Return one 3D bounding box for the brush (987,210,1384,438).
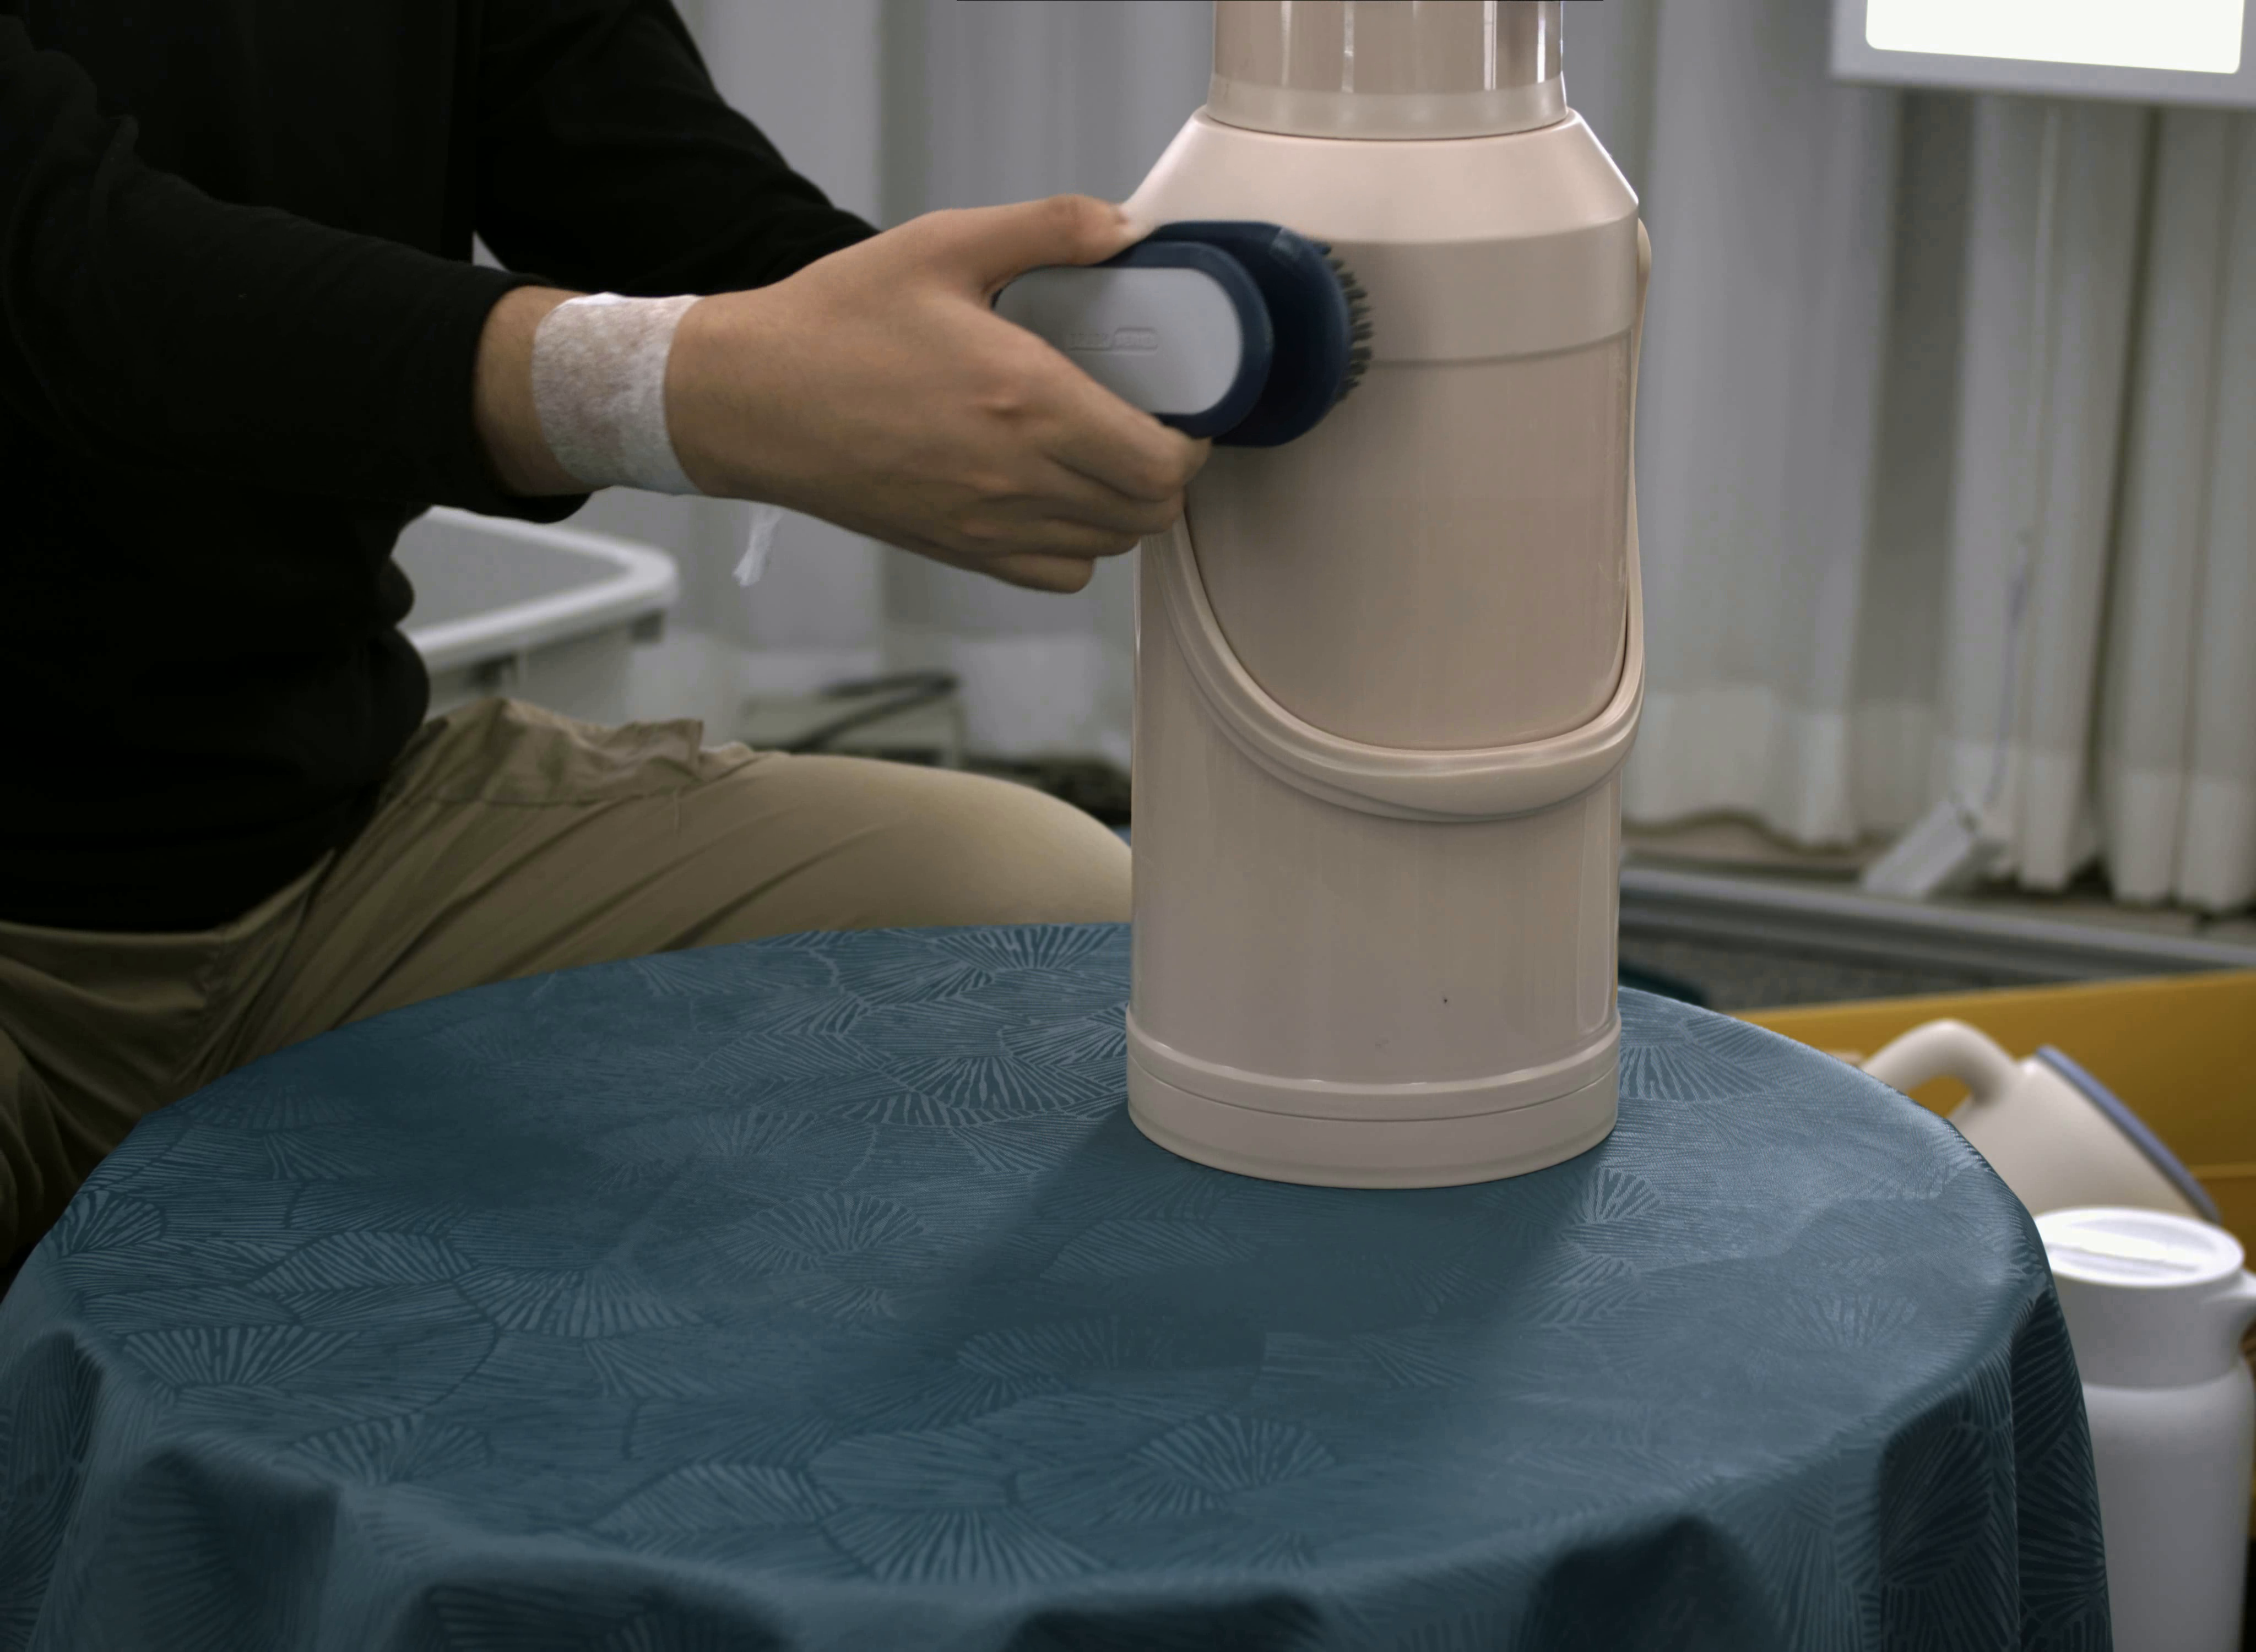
[{"bbox_3d":[0.018,-0.147,1.535,0.120,0.068,0.061,9,15,40],"label":"brush"}]

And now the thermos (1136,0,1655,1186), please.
[{"bbox_3d":[0.076,-0.104,1.657,0.176,0.410,0.204,-9,19,-24],"label":"thermos"}]
